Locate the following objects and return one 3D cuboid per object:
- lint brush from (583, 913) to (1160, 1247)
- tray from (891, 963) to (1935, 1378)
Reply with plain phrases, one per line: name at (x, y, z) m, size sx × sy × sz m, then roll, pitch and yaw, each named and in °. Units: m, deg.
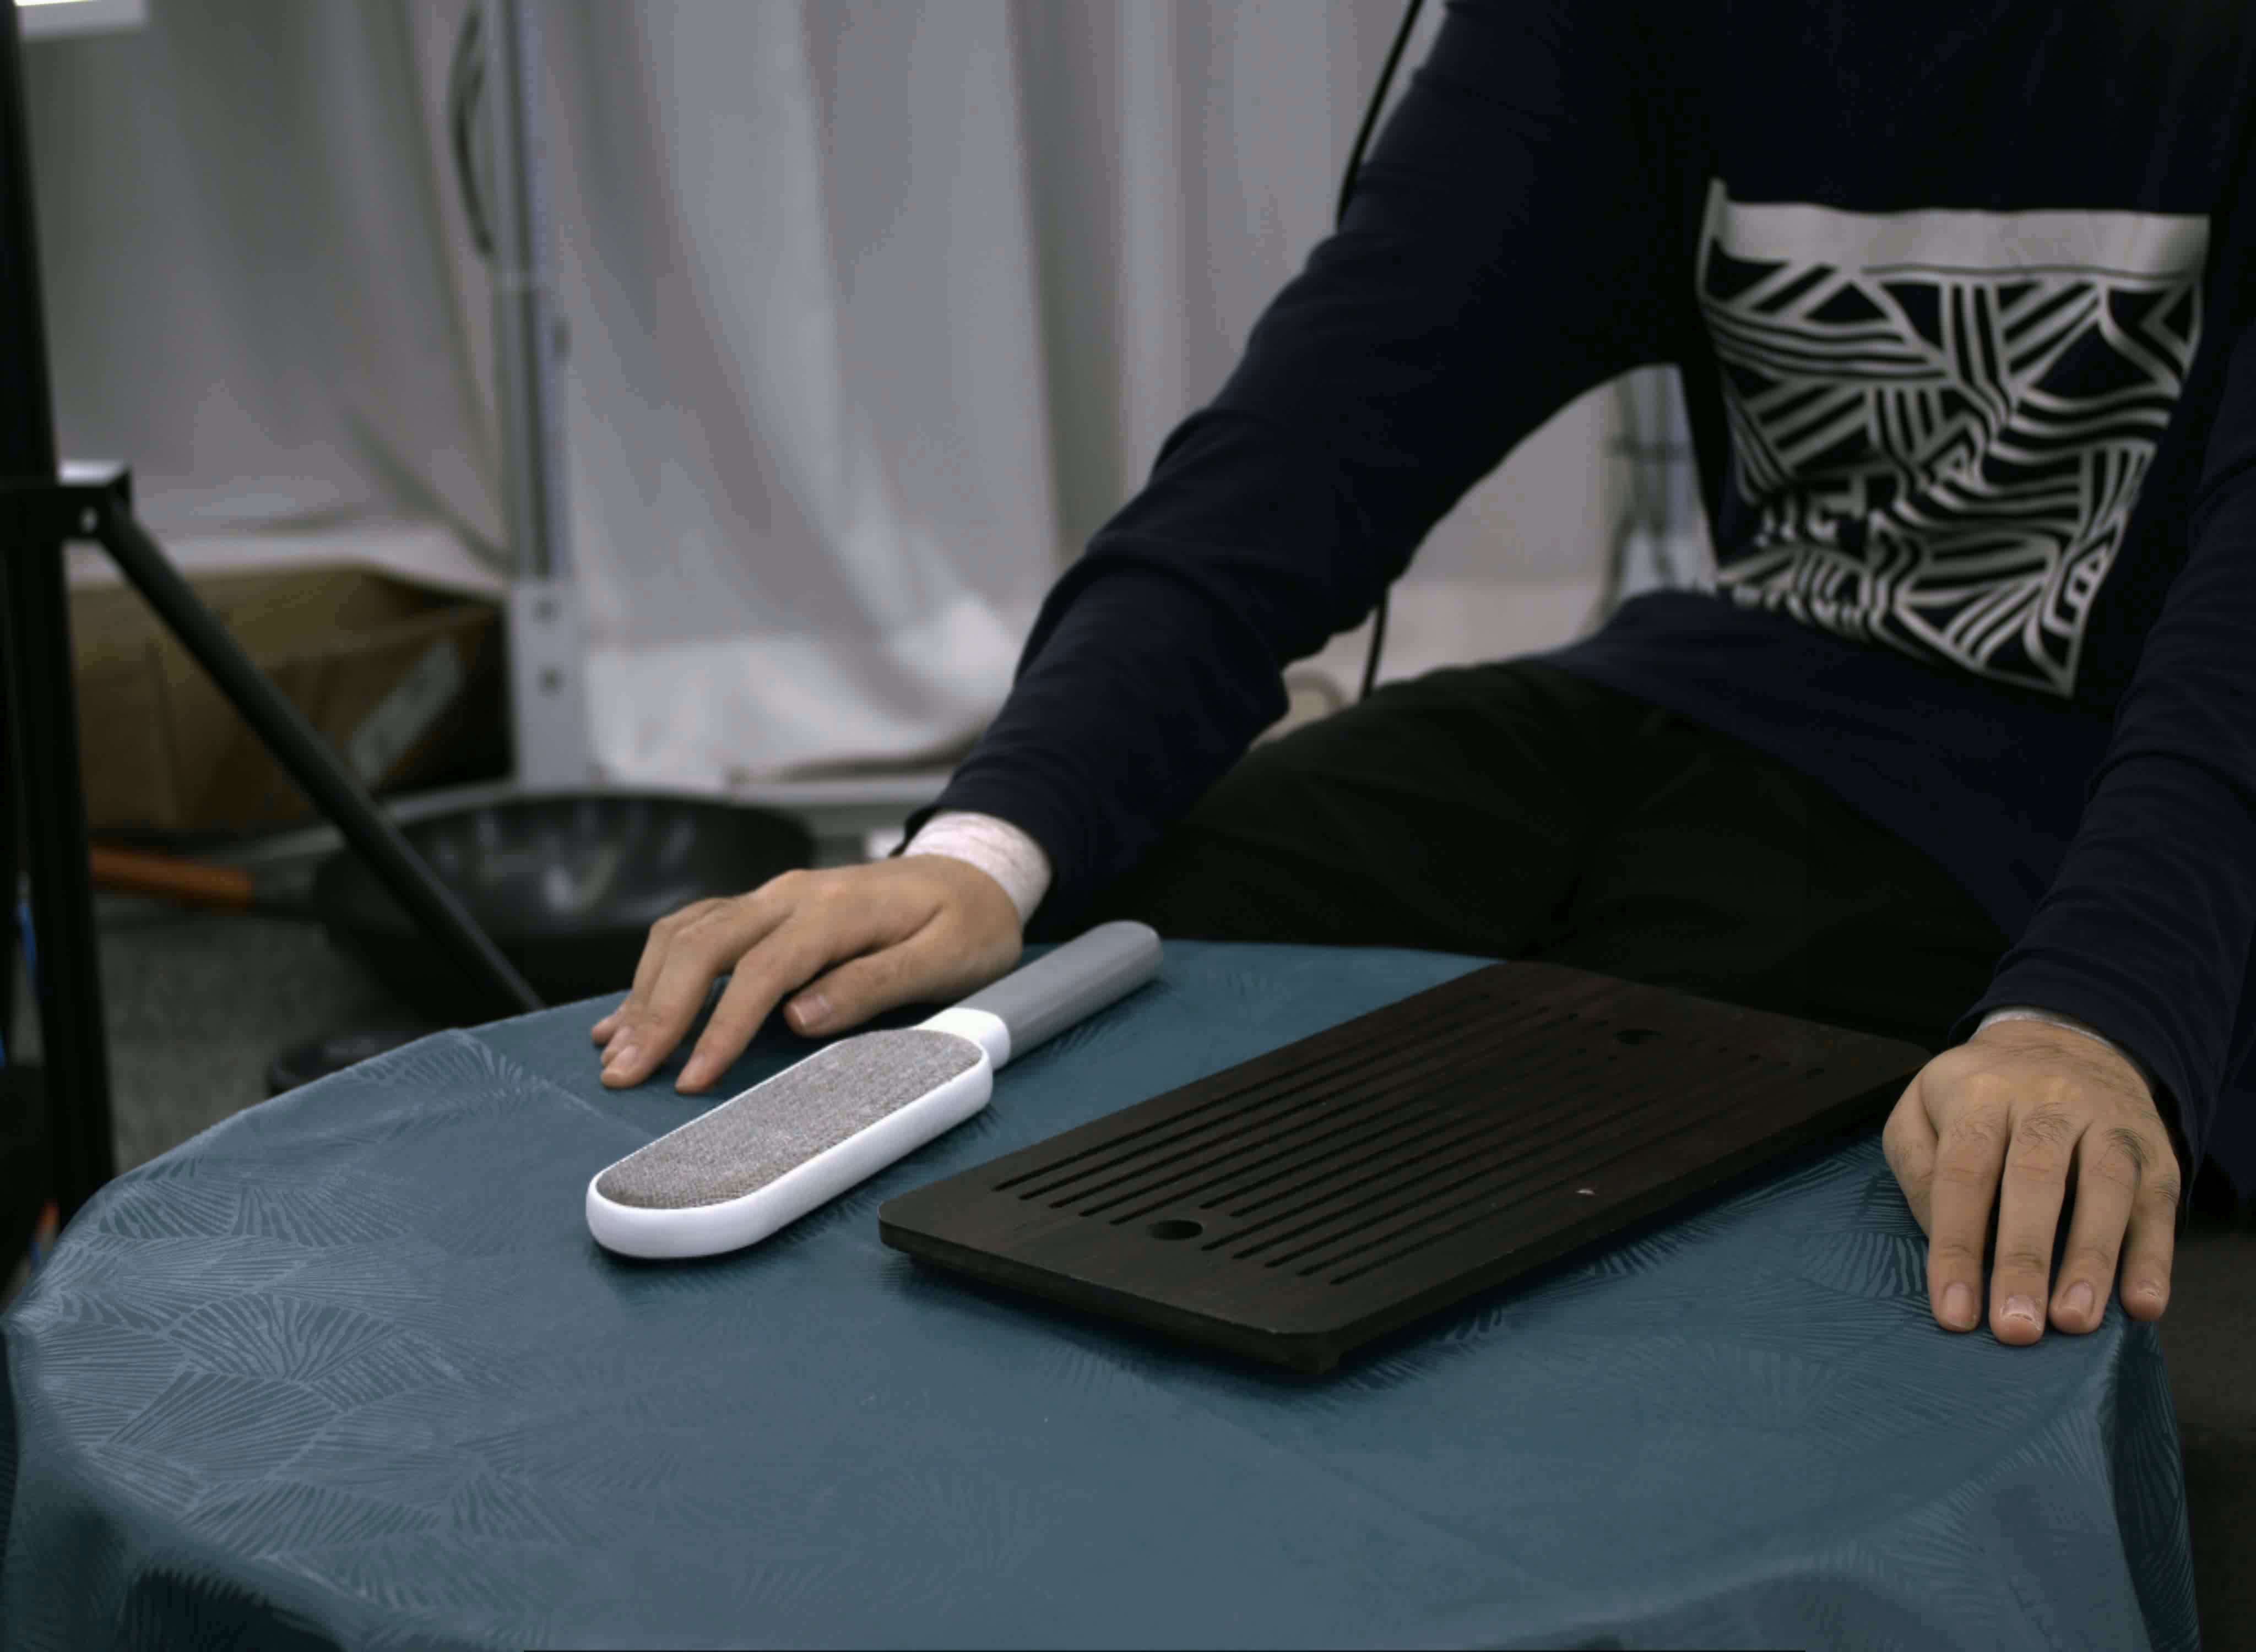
lint brush at (-0.068, 0.075, 1.640) m, size 0.061 × 0.021 × 0.303 m, roll 1°, pitch 15°, yaw 30°
tray at (0.089, 0.098, 1.555) m, size 0.174 × 0.018 × 0.299 m, roll 11°, pitch 20°, yaw 41°
